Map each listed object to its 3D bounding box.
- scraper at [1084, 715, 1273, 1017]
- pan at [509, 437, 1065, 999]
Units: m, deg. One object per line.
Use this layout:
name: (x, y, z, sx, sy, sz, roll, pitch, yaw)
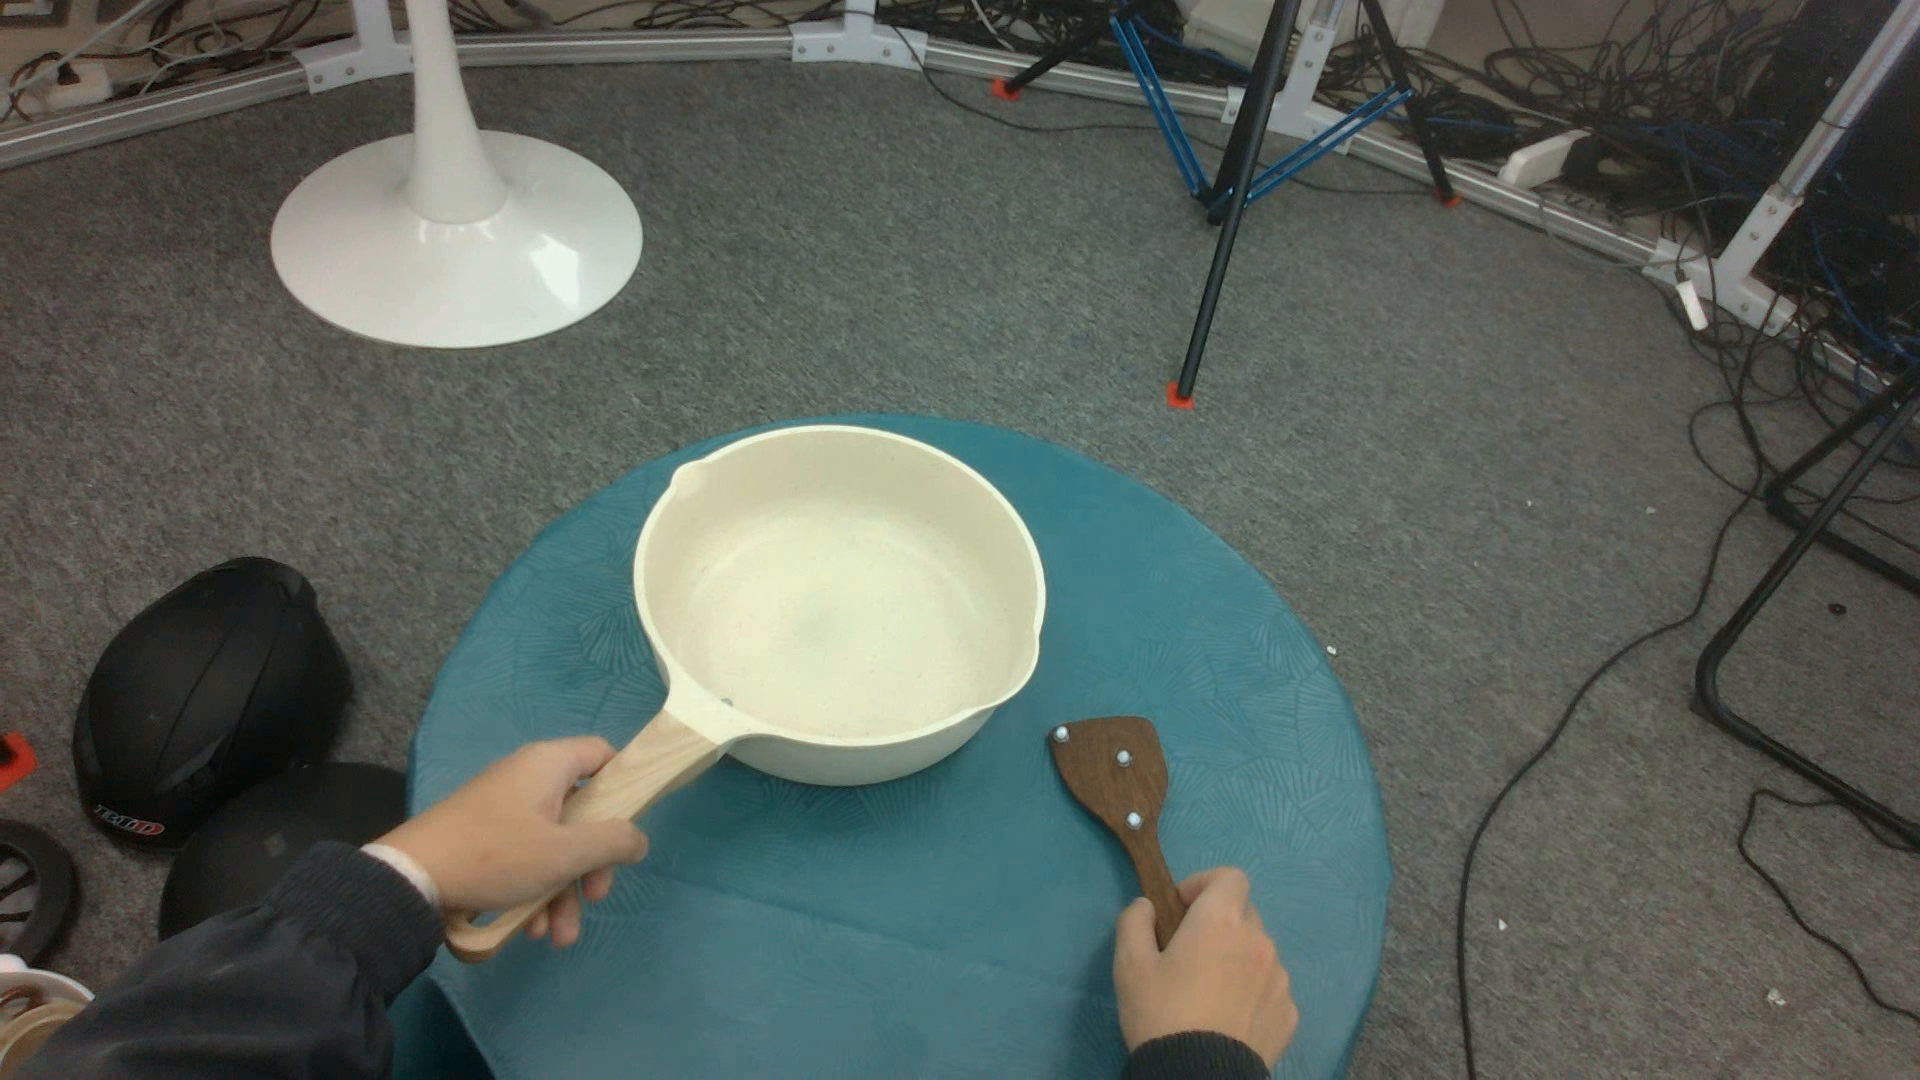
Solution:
scraper: (0.137, 0.189, 0.828, 0.076, 0.011, 0.212, -7, 43, -11)
pan: (-0.108, 0.105, 0.824, 0.263, 0.101, 0.437, 28, 51, 14)
